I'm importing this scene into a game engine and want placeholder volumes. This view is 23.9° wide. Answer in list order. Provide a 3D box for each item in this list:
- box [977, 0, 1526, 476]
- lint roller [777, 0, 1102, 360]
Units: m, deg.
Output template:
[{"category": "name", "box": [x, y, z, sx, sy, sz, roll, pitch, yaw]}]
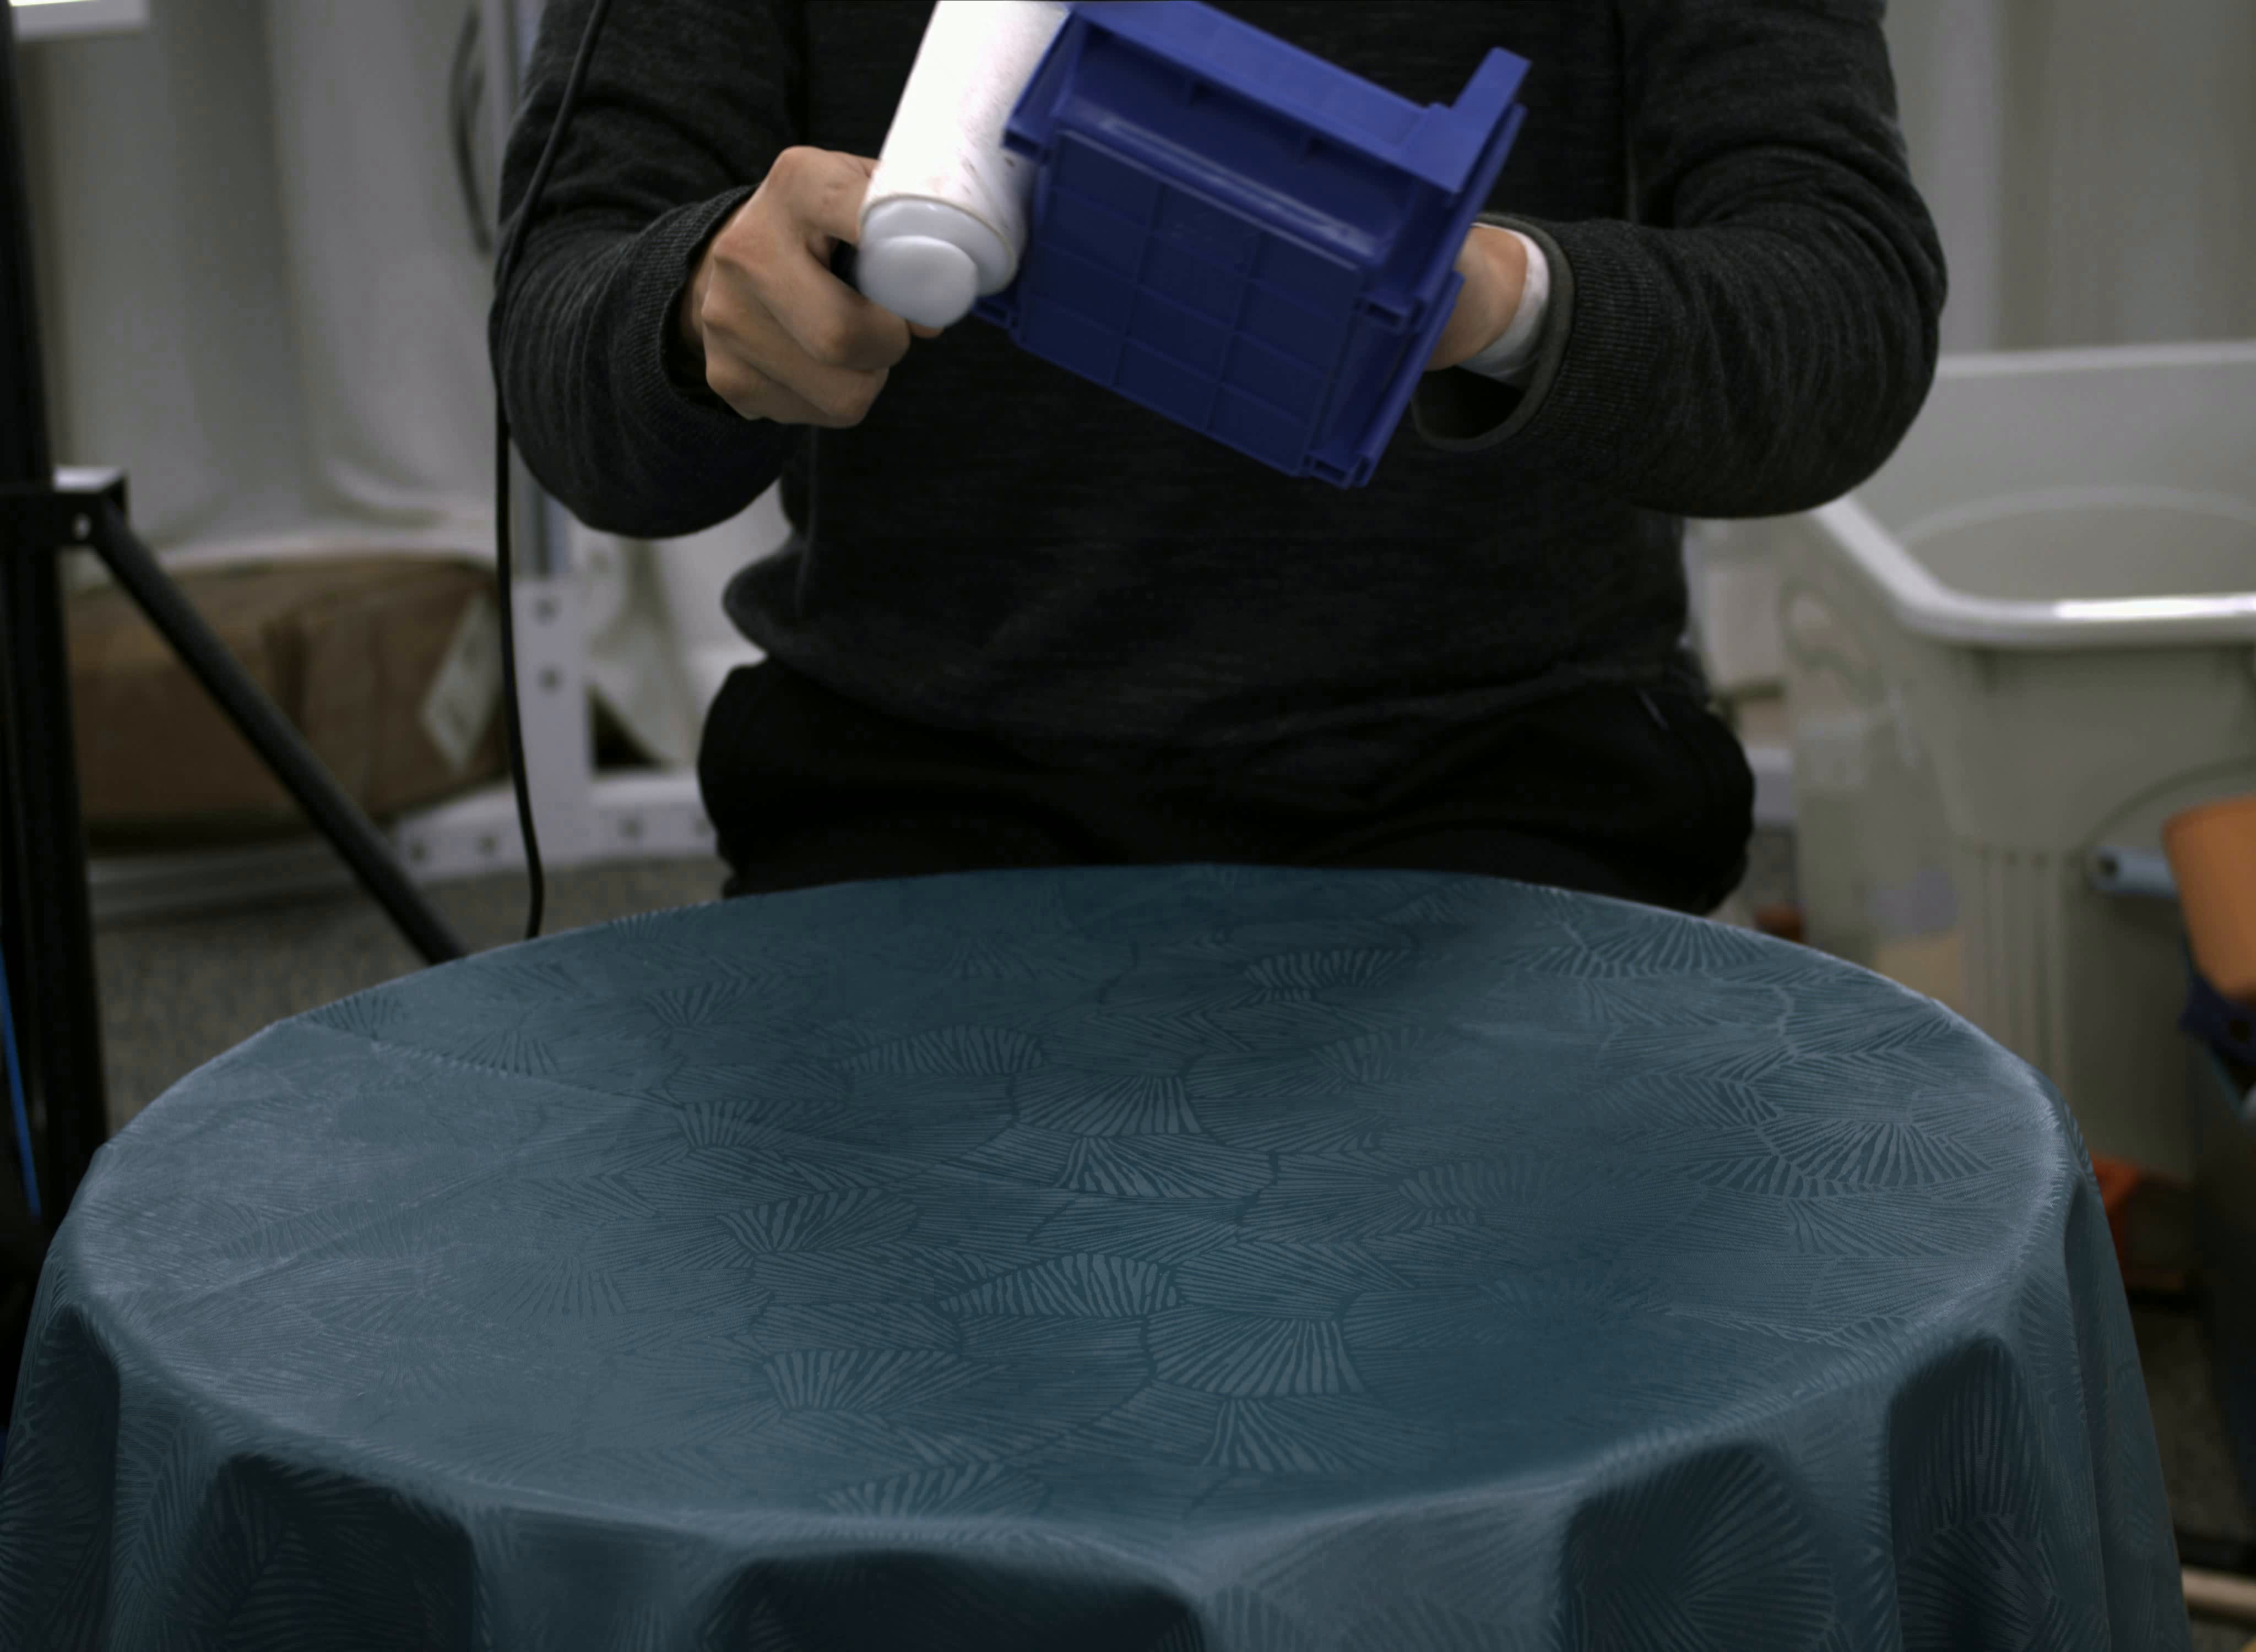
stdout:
[{"category": "box", "box": [0.034, -0.182, 1.469, 0.125, 0.082, 0.179, 26, -24, 7]}, {"category": "lint roller", "box": [-0.072, -0.186, 1.550, 0.049, 0.133, 0.183, 28, -28, -20]}]
